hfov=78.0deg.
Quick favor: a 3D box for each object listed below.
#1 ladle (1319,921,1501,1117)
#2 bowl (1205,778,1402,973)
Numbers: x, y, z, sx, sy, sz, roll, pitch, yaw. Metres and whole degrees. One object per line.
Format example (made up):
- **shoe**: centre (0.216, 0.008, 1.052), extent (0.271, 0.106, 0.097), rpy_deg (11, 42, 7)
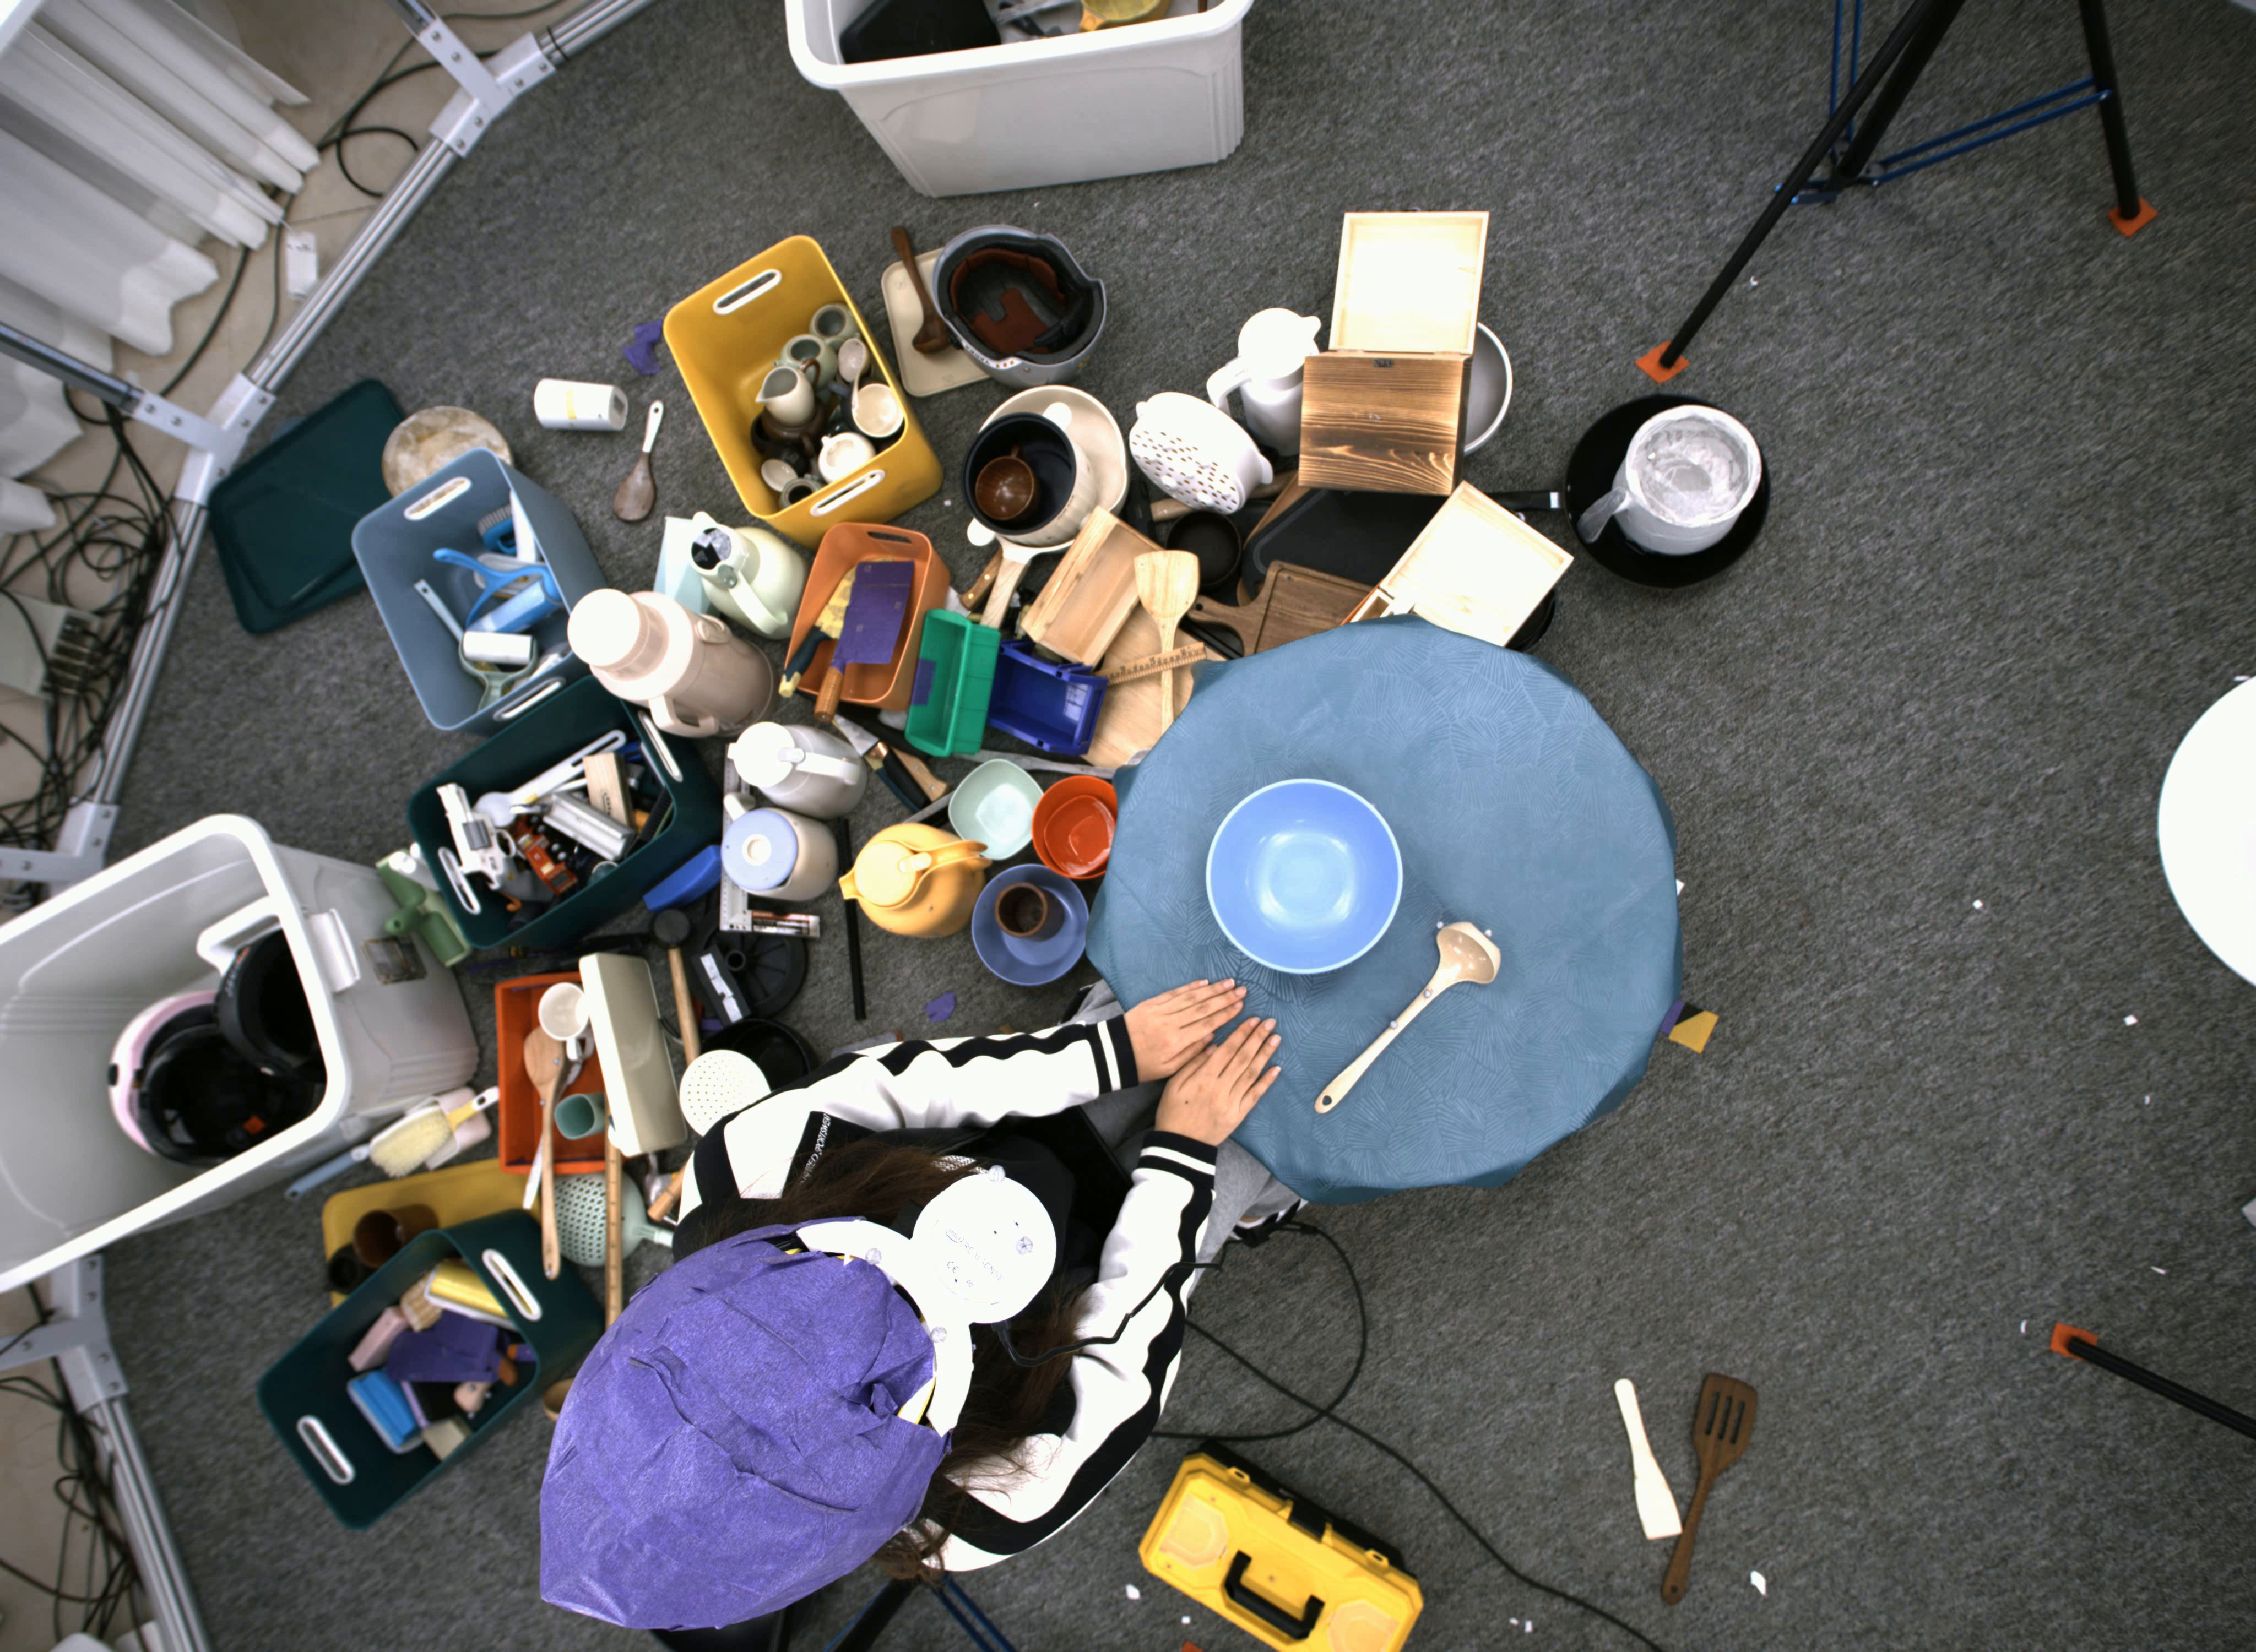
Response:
- **ladle**: centre (0.280, 0.203, 1.414), extent (0.072, 0.073, 0.255), rpy_deg (42, 95, 12)
- **bowl**: centre (0.182, 0.054, 1.429), extent (0.197, 0.095, 0.195), rpy_deg (-1, 84, 9)
